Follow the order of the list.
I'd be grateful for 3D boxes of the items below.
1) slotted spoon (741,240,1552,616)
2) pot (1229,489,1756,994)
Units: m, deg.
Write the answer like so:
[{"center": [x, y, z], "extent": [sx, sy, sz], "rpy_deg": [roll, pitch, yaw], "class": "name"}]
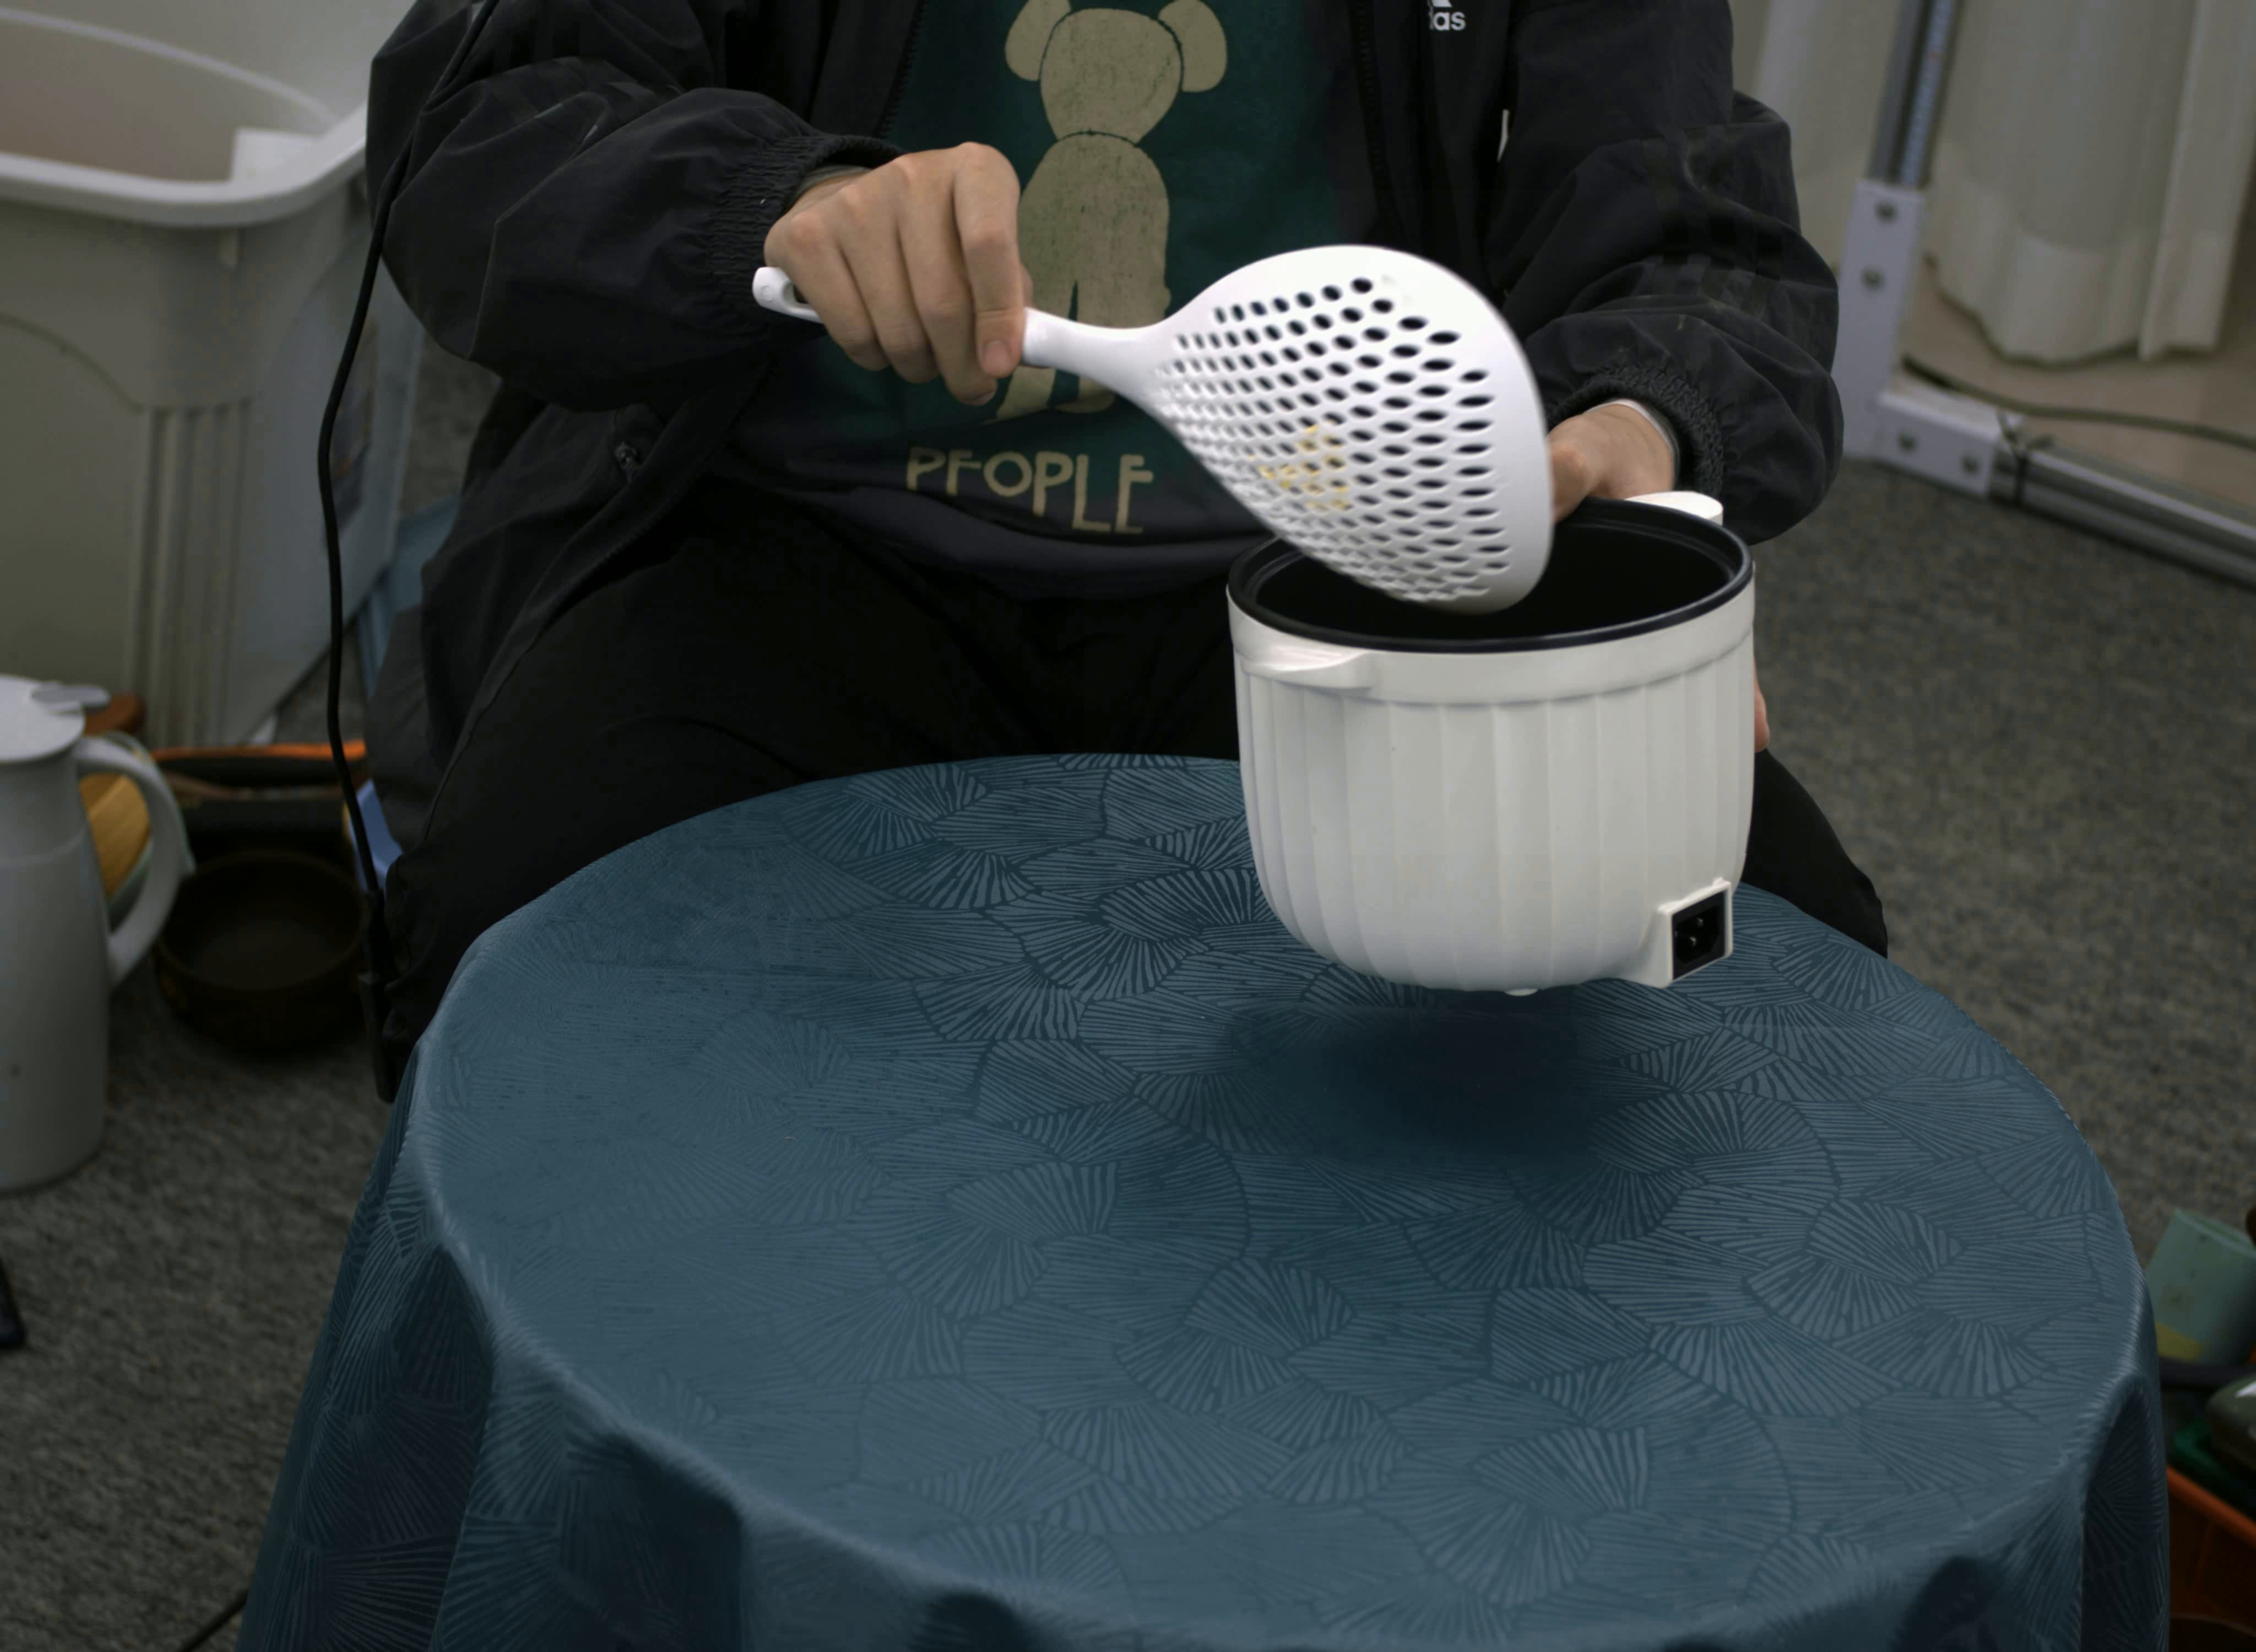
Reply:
[{"center": [0.000, -0.155, 1.852], "extent": [0.350, 0.136, 0.050], "rpy_deg": [21, 41, 41], "class": "slotted spoon"}, {"center": [0.123, -0.028, 1.854], "extent": [0.192, 0.142, 0.239], "rpy_deg": [17, 26, 40], "class": "pot"}]
